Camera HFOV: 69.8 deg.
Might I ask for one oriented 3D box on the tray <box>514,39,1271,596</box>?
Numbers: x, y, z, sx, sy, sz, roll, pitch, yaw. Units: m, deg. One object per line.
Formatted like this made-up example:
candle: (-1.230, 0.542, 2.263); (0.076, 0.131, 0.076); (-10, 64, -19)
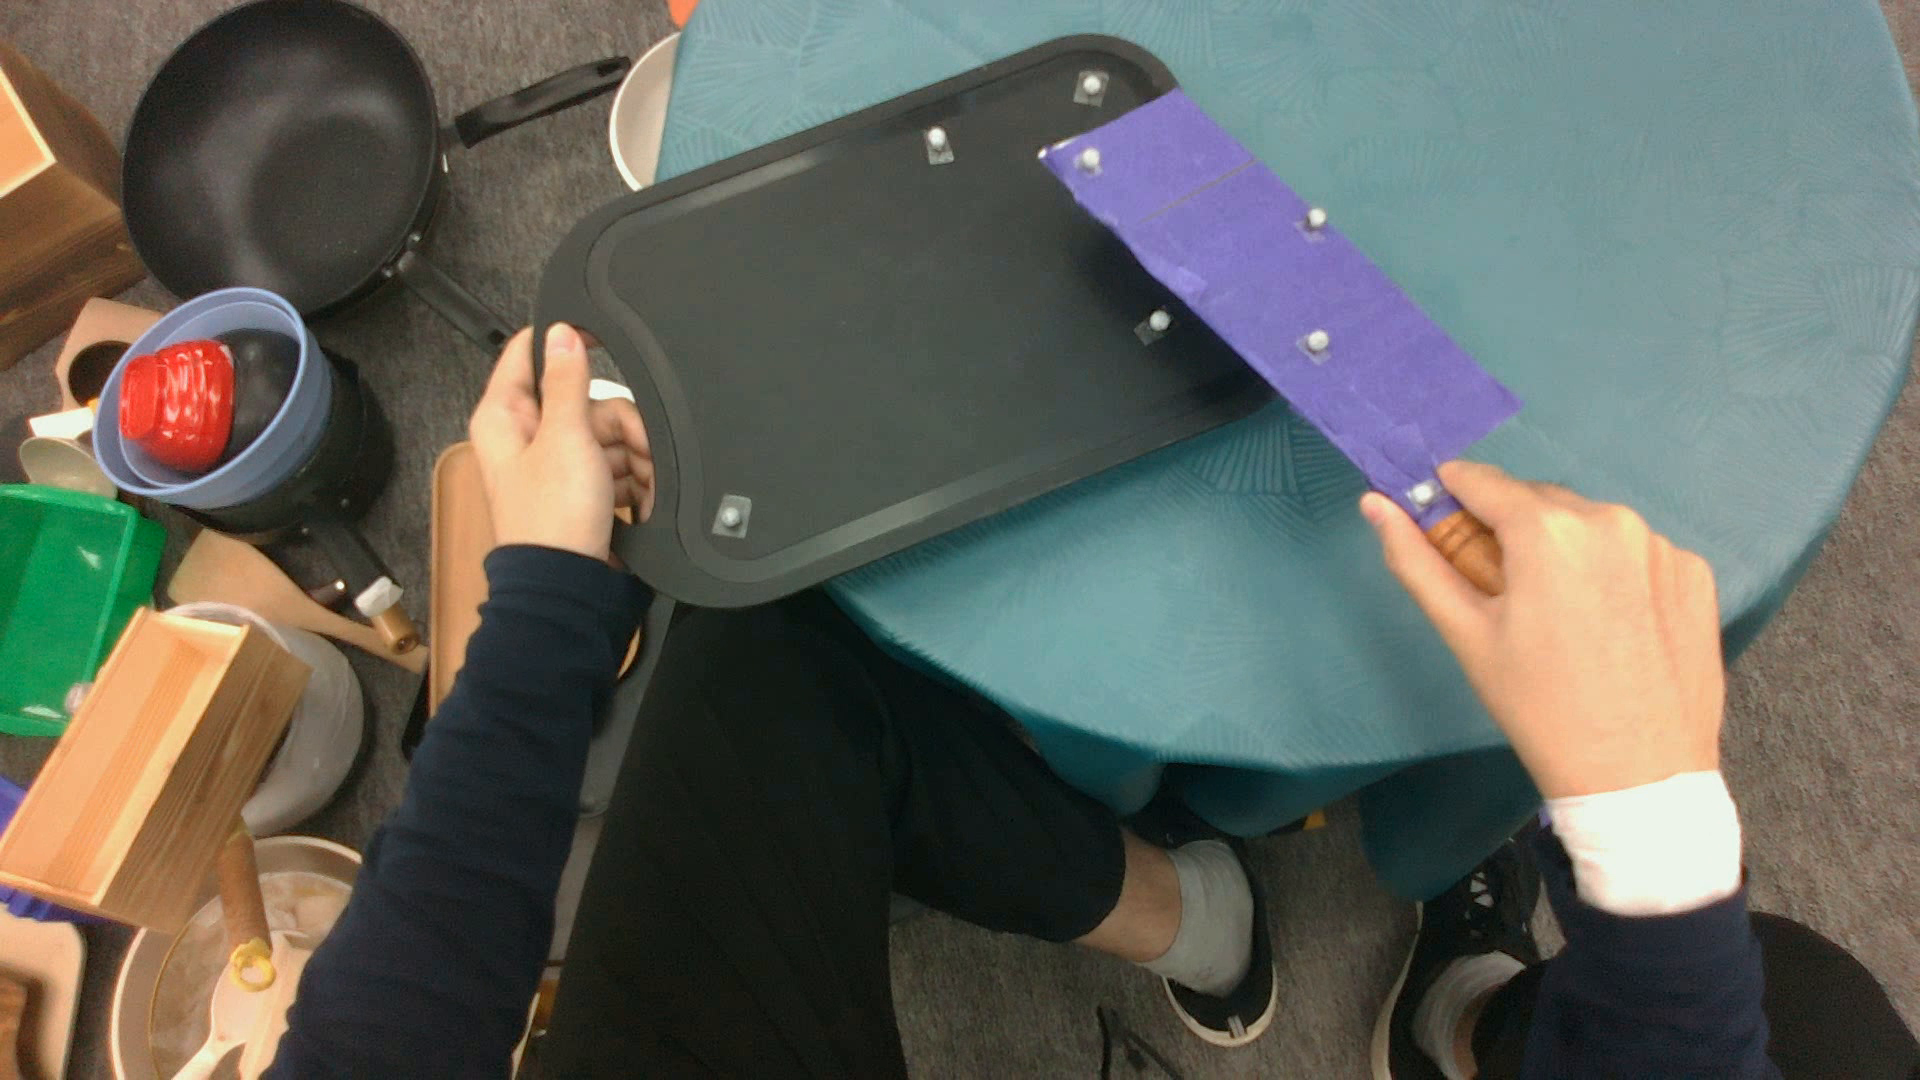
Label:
tray: (-0.034, -0.105, 0.610); (0.326, 0.010, 0.211); (-21, 72, -8)

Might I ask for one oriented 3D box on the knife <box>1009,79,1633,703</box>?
knife: (0.154, -0.078, 0.549); (0.104, 0.032, 0.315); (-31, 73, -34)
